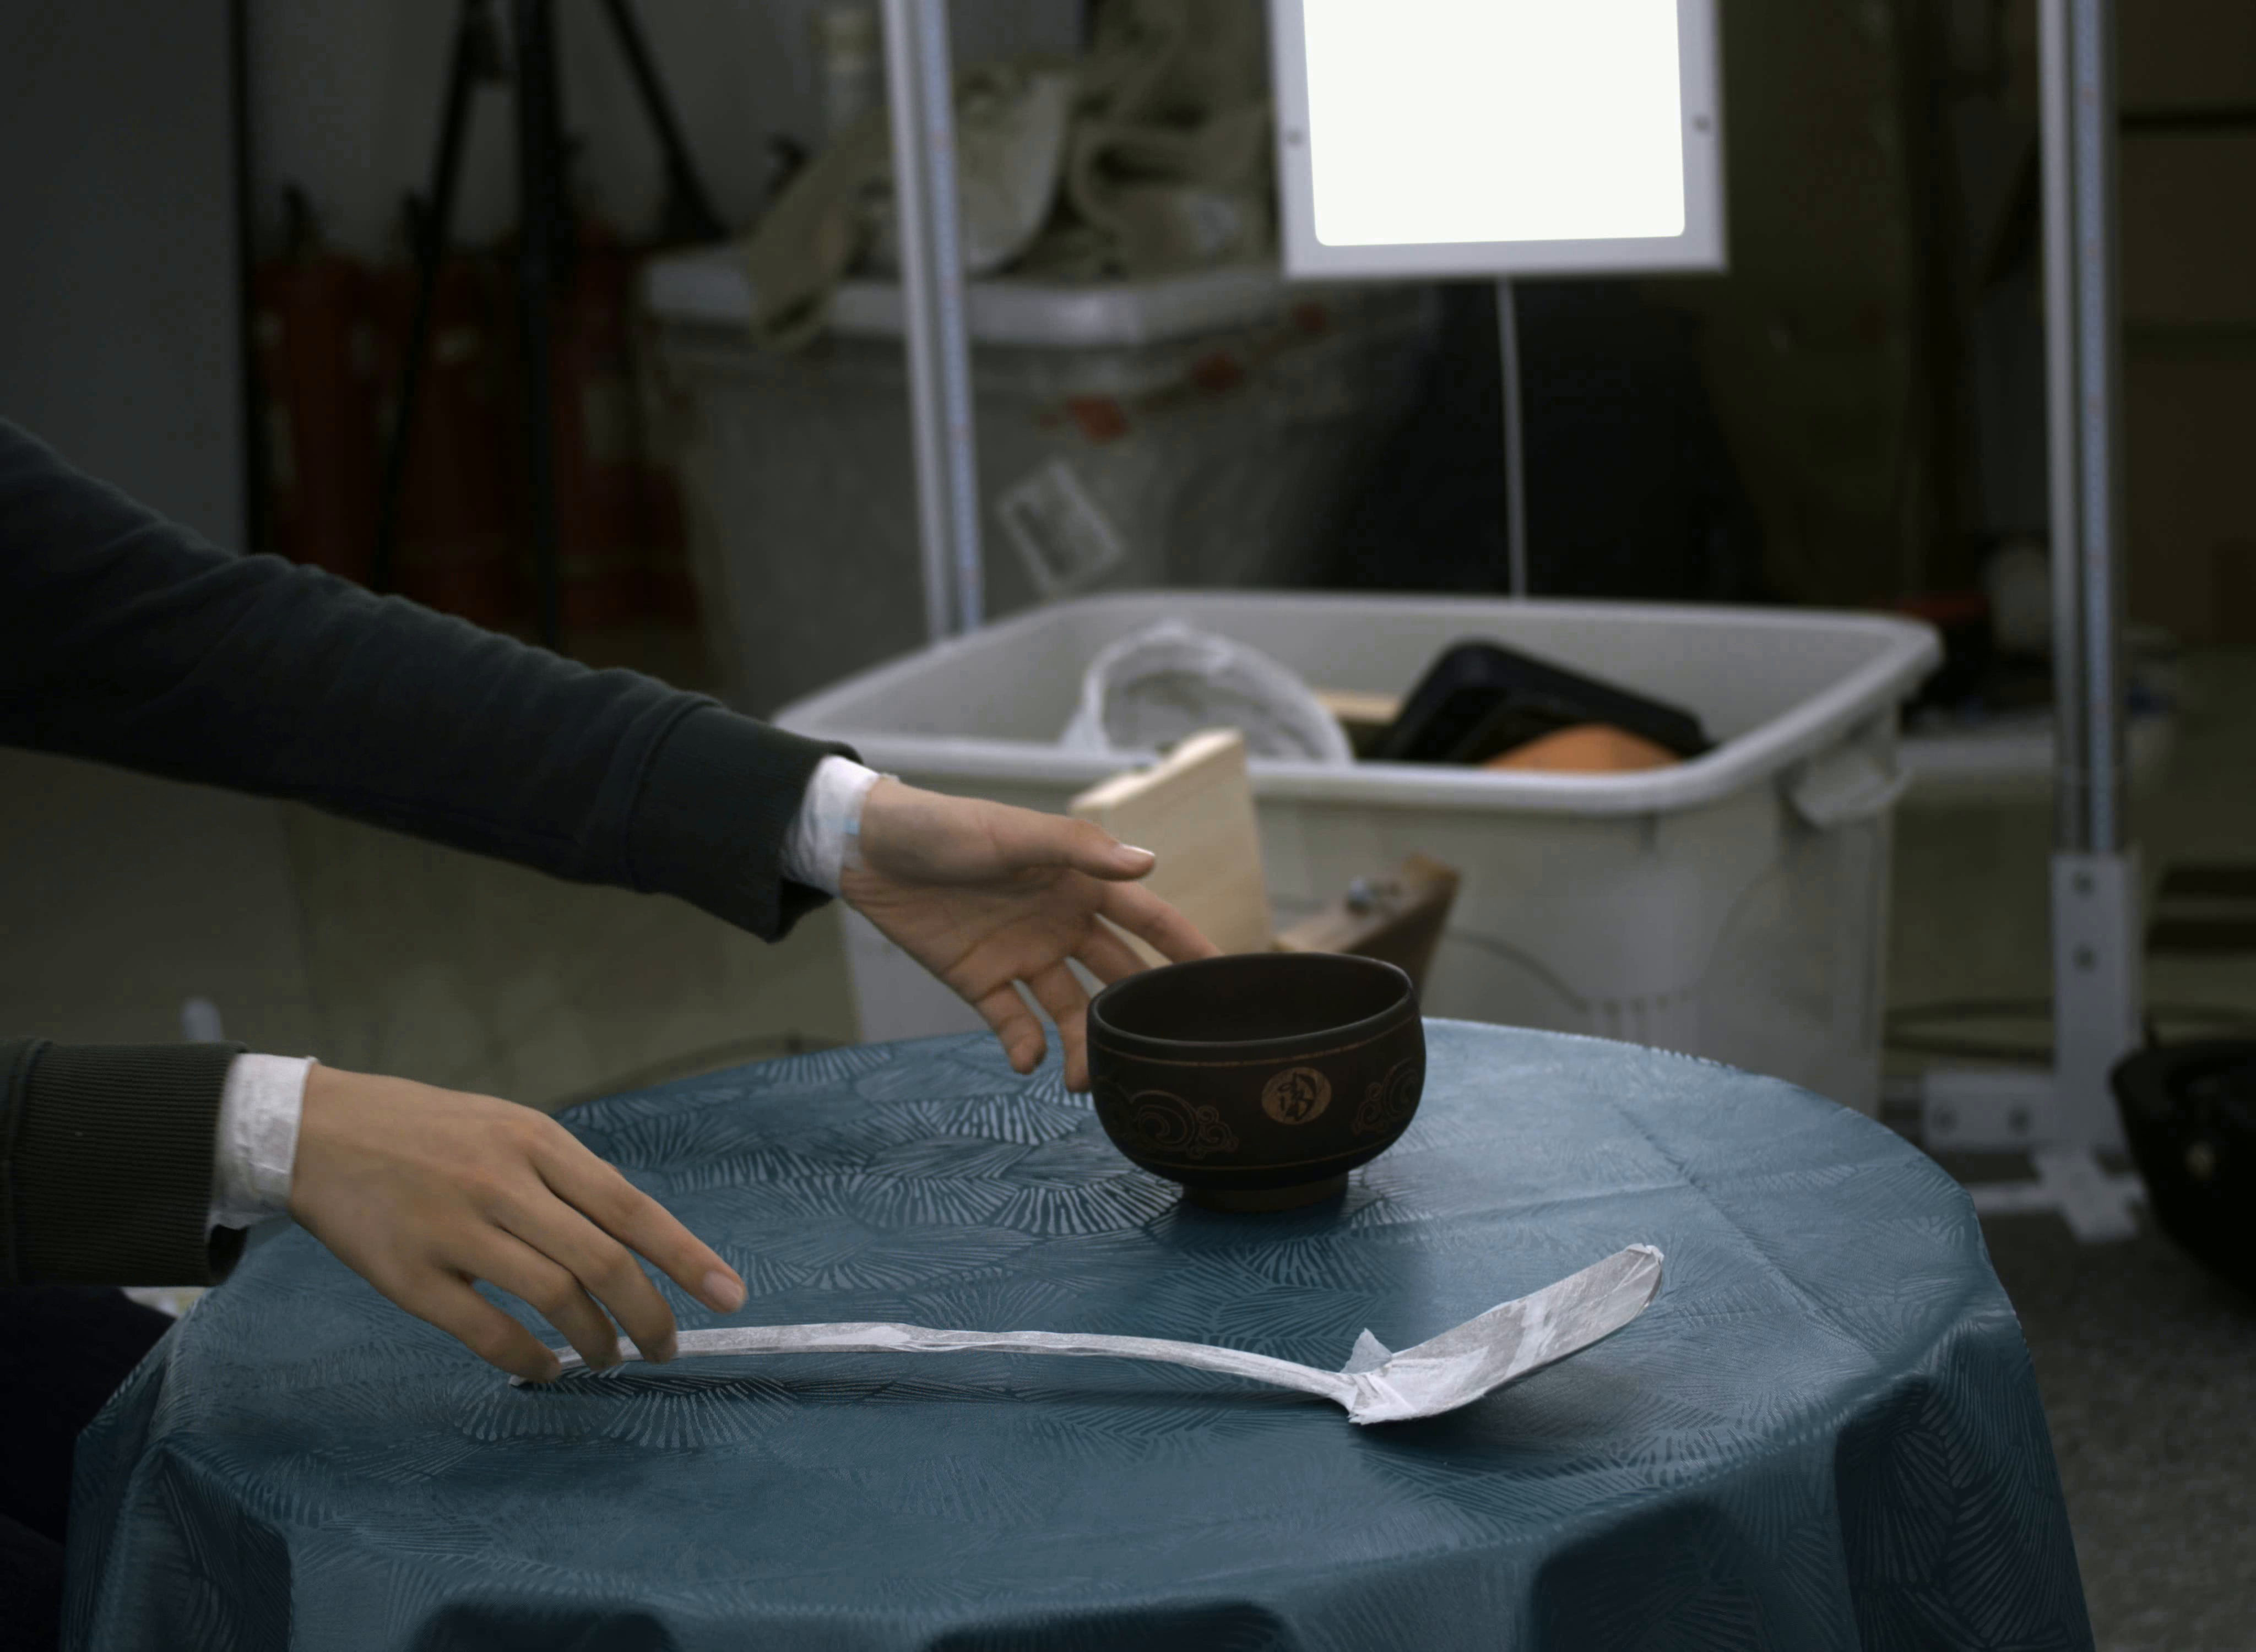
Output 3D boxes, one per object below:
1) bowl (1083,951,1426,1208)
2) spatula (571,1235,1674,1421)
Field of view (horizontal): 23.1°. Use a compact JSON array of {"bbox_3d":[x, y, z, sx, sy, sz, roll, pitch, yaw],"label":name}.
[{"bbox_3d":[0.045,0.090,1.881,0.118,0.070,0.118,-5,12,0],"label":"bowl"},{"bbox_3d":[-0.011,0.155,1.702,0.369,0.045,0.097,0,17,20],"label":"spatula"}]
